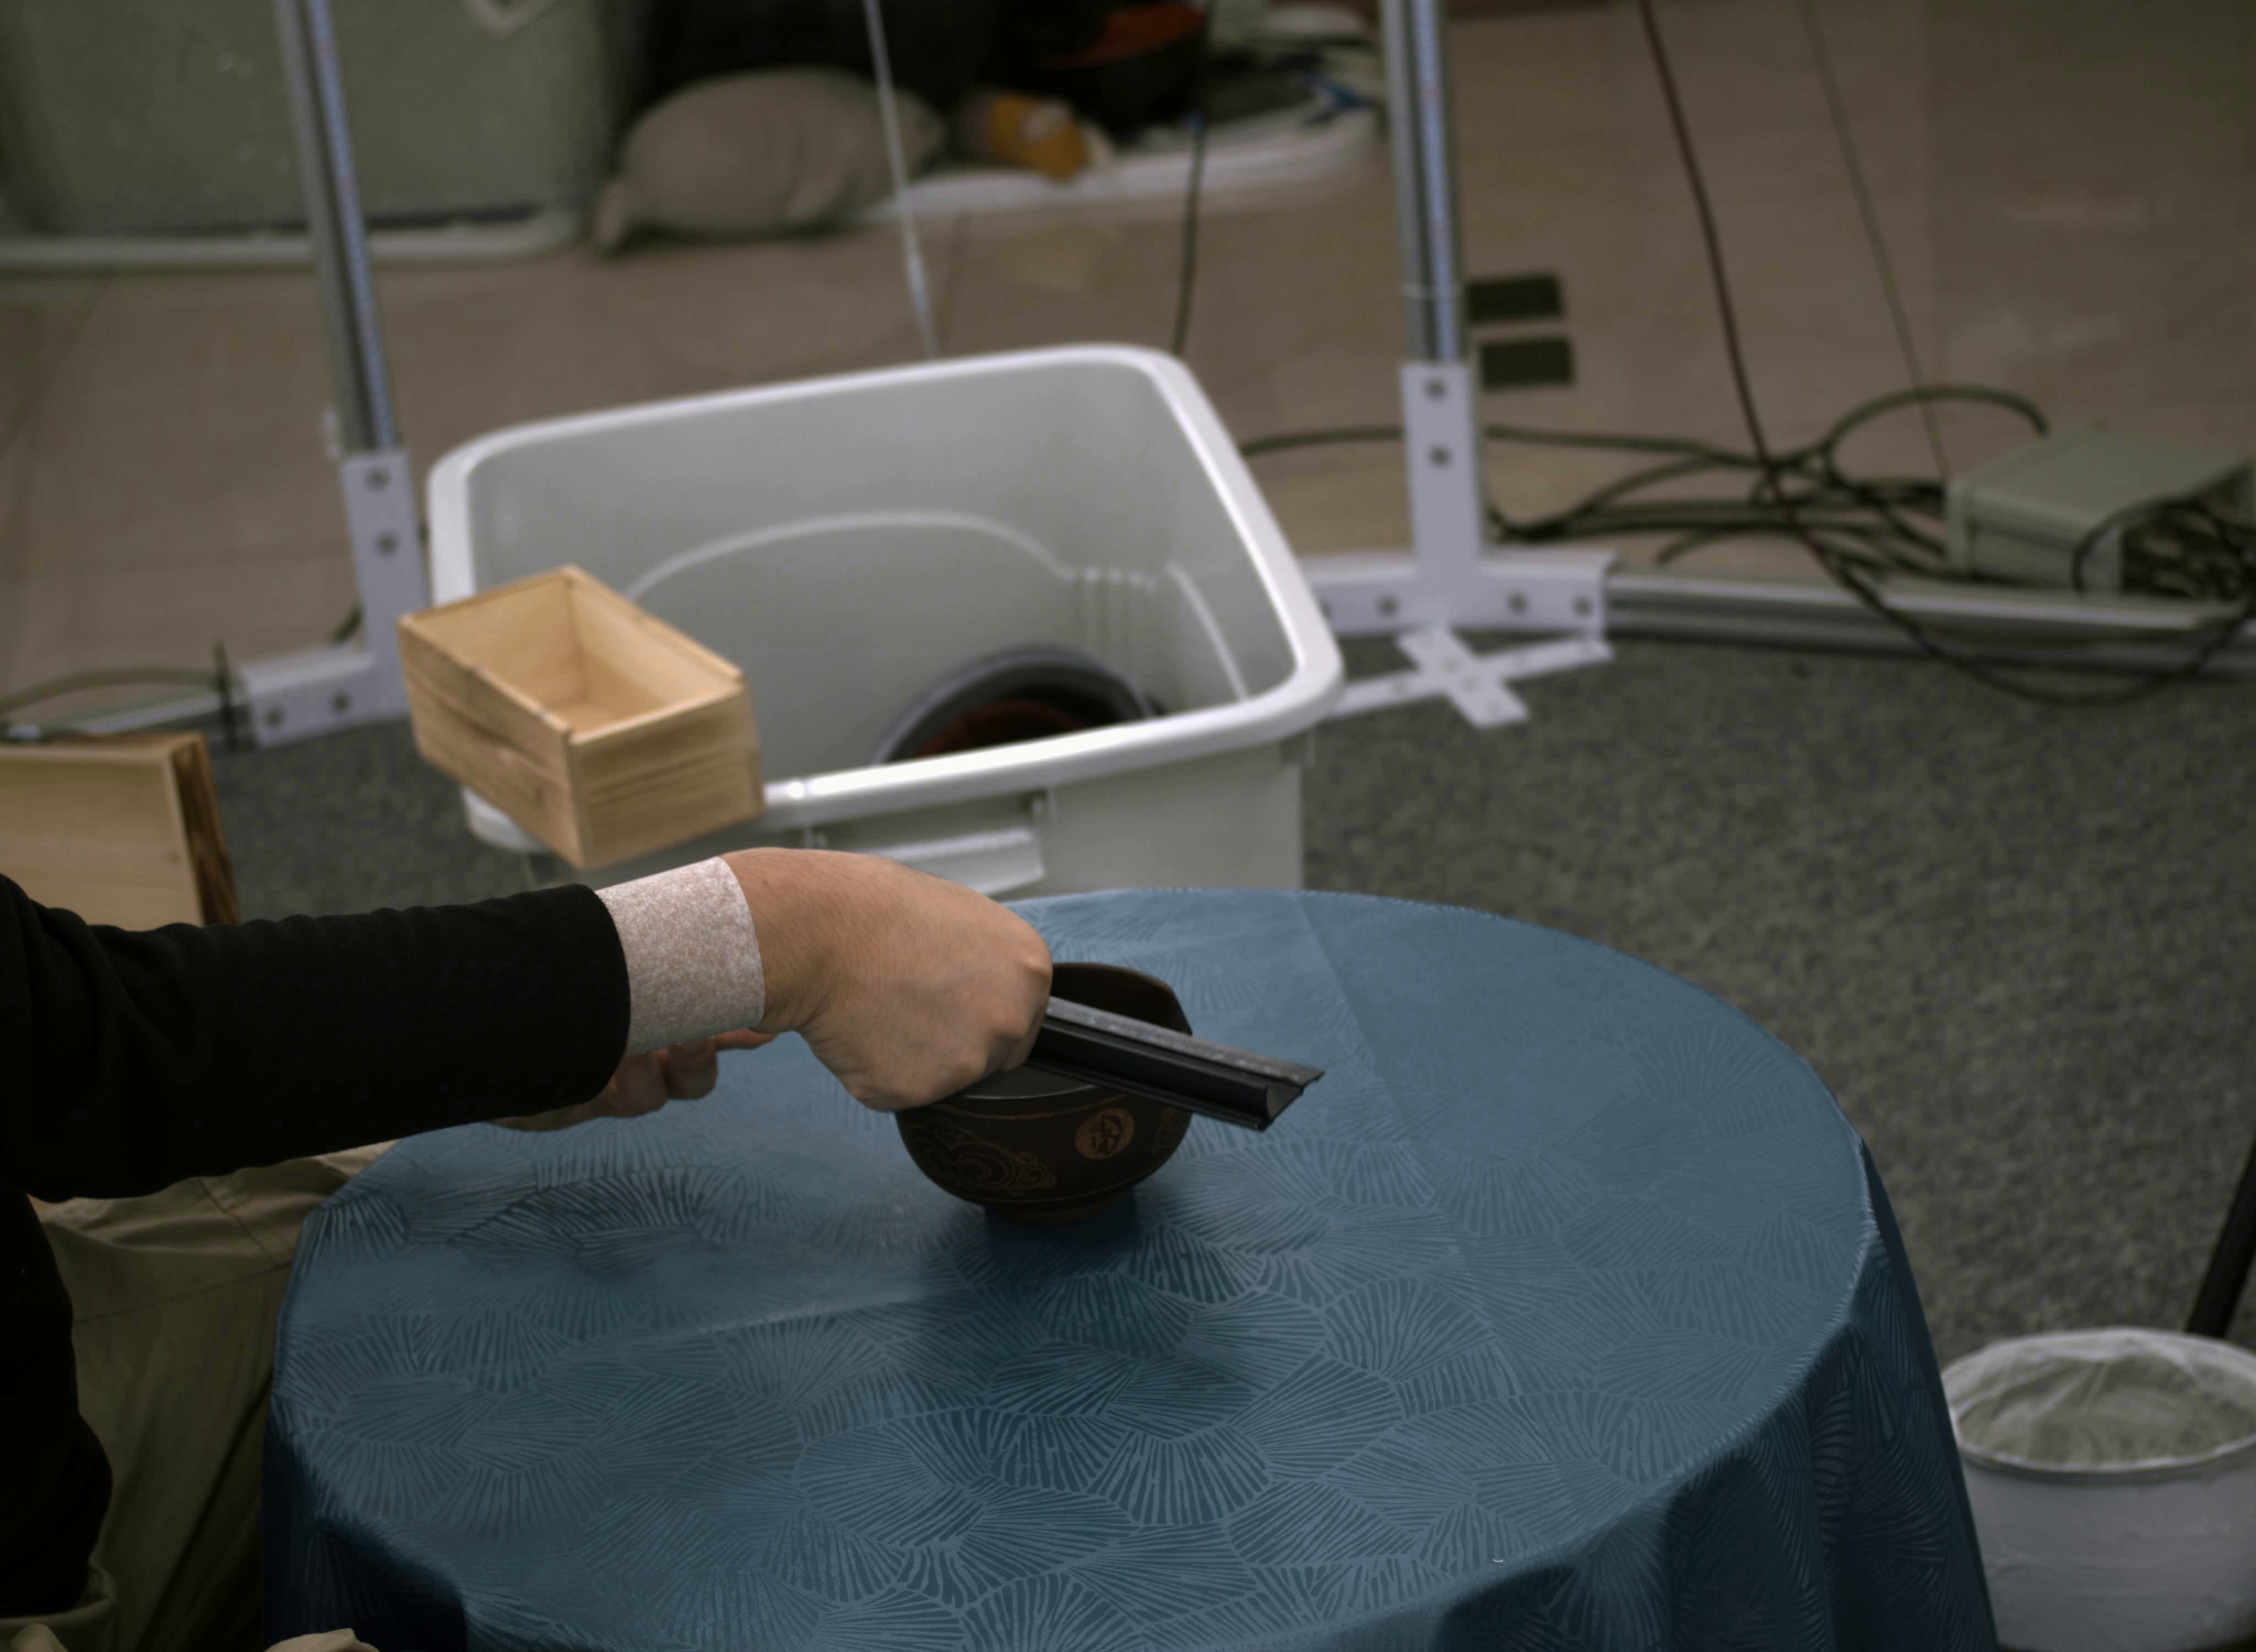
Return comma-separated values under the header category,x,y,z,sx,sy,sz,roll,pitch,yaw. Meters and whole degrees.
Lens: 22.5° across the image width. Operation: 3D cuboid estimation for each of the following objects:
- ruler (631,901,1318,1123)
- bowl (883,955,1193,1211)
category,x,y,z,sx,sy,sz,roll,pitch,yaw
ruler,-0.062,0.061,2.085,0.310,0.017,0.039,13,39,38
bowl,-0.034,0.102,2.137,0.118,0.071,0.116,0,22,0
